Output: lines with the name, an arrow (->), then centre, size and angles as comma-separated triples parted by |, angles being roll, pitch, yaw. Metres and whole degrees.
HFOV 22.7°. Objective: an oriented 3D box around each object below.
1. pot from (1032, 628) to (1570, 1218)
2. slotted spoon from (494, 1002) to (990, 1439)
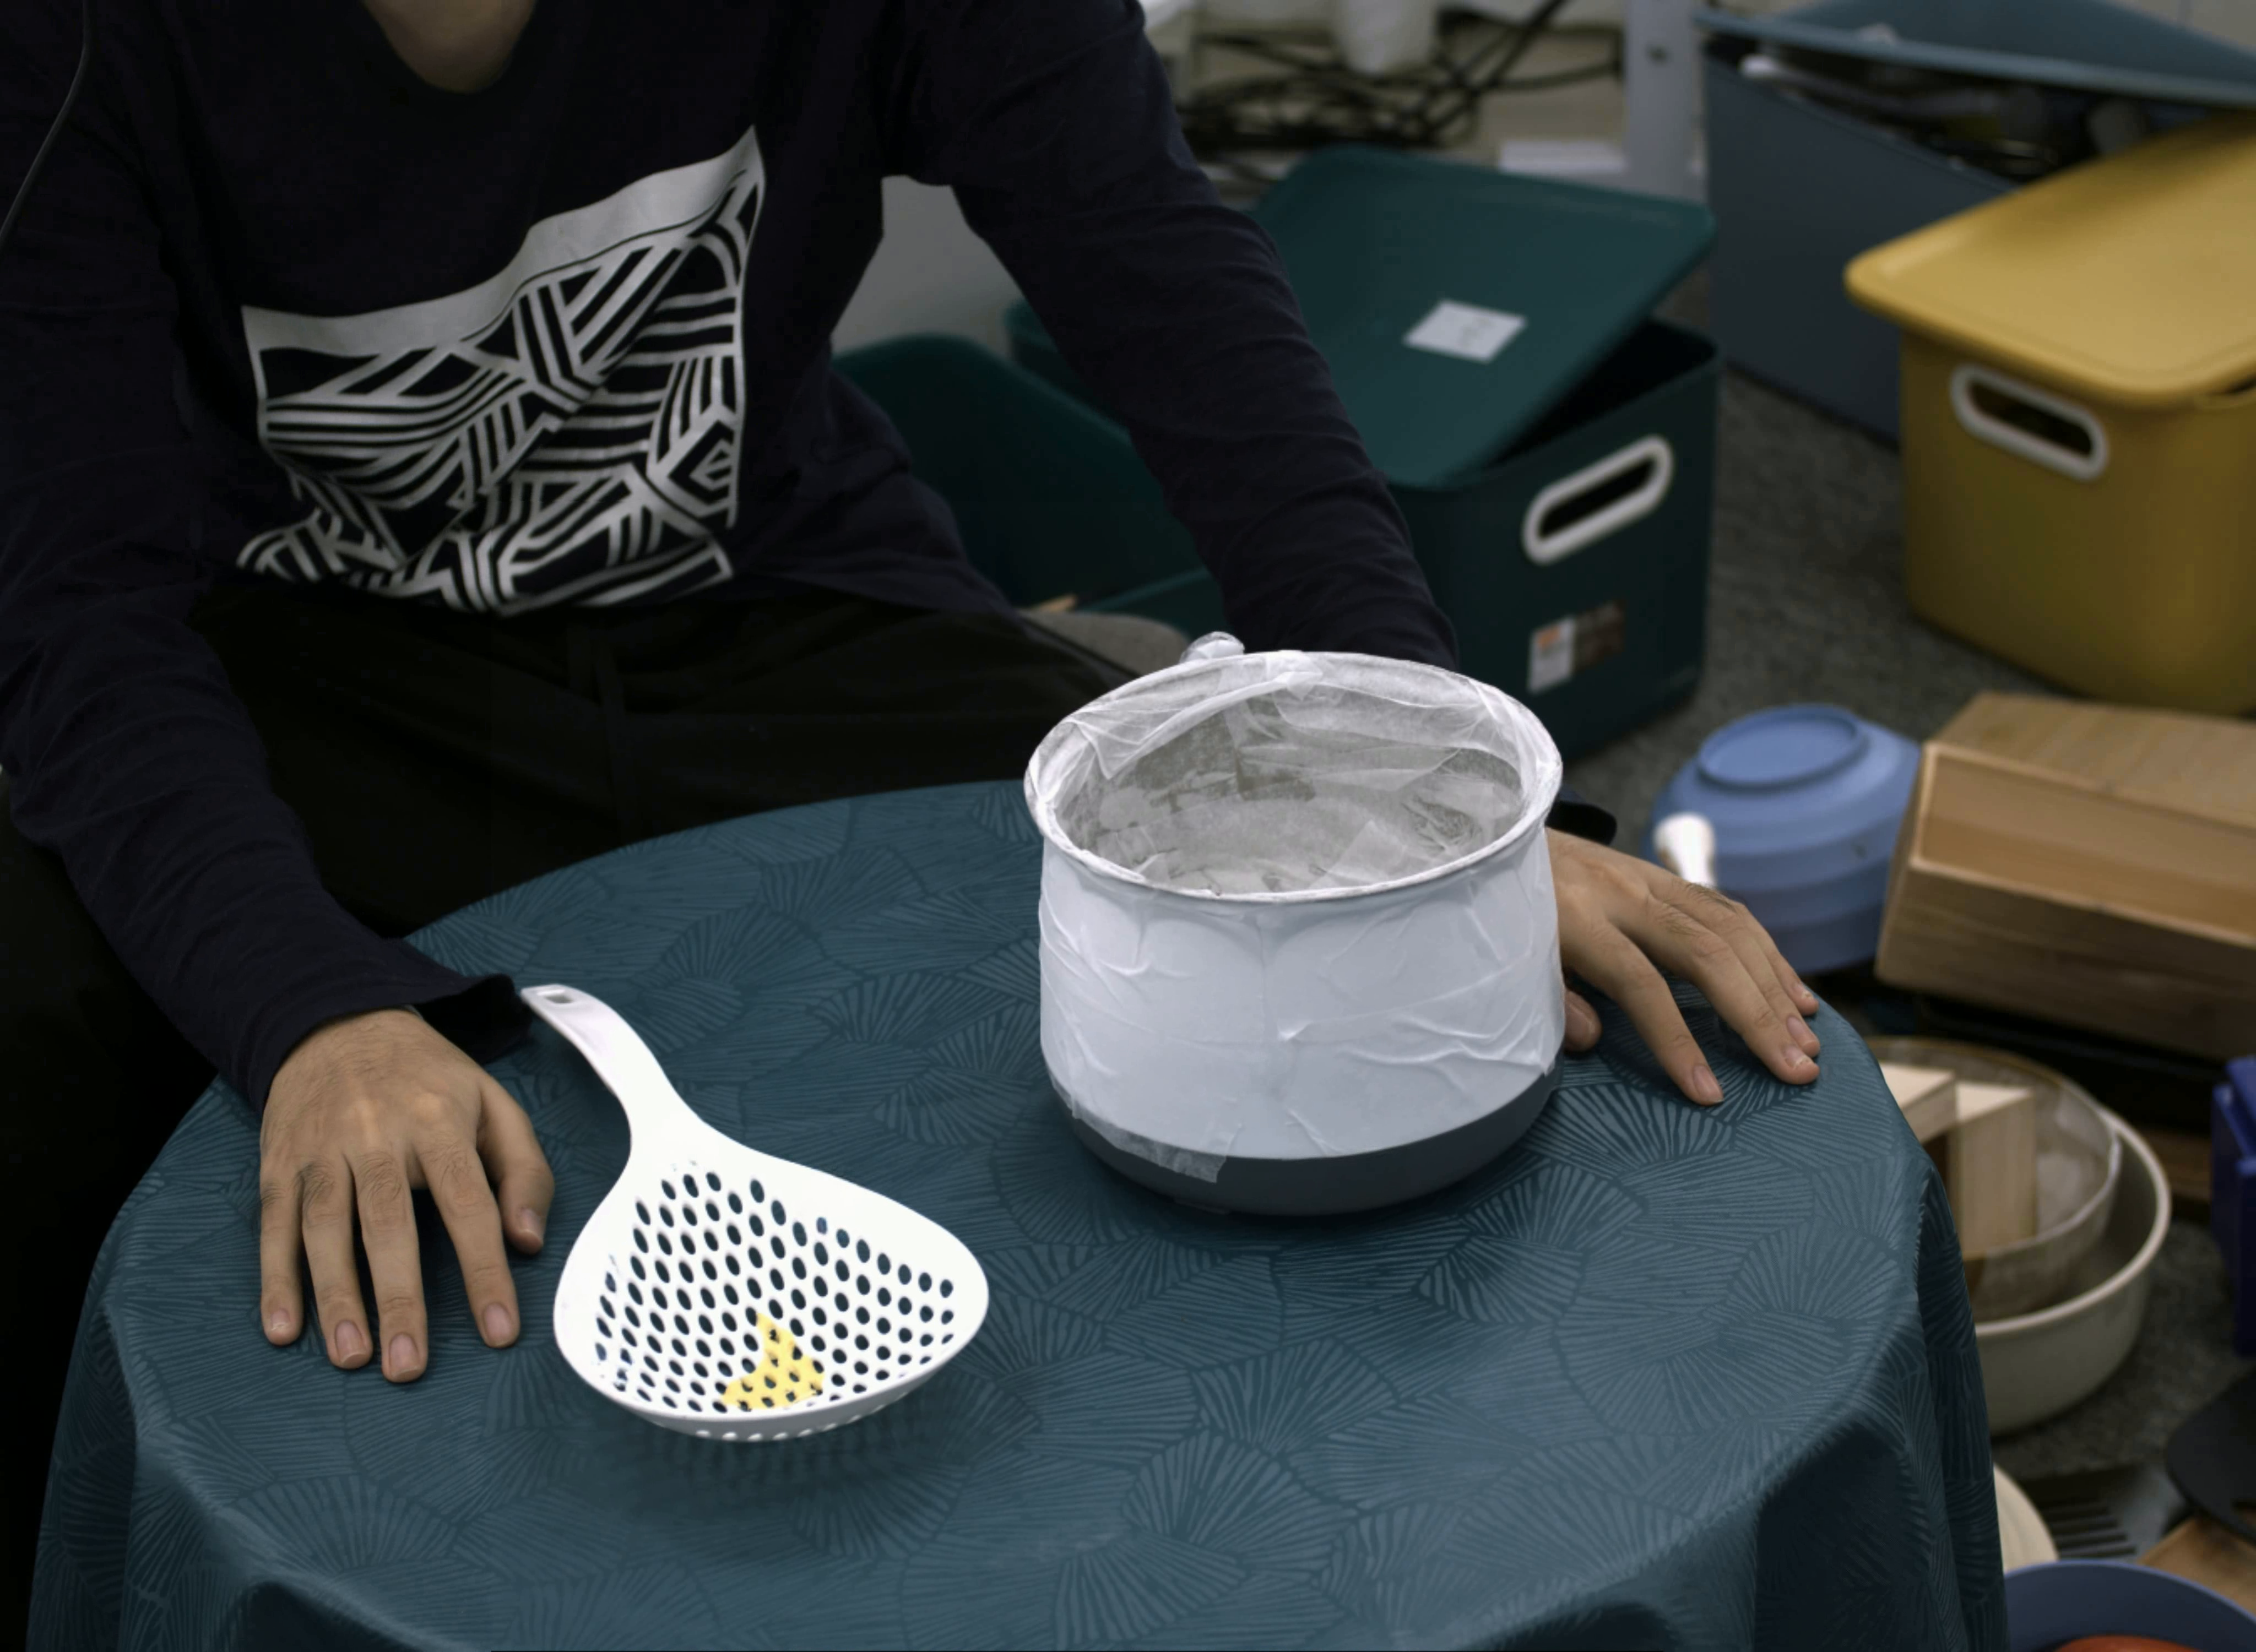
pot -> 0.050, 0.025, 1.896 | 0.179, 0.135, 0.236 | -7, 27, -14
slotted spoon -> -0.150, 0.116, 1.840 | 0.137, 0.050, 0.351 | -13, 29, -17
